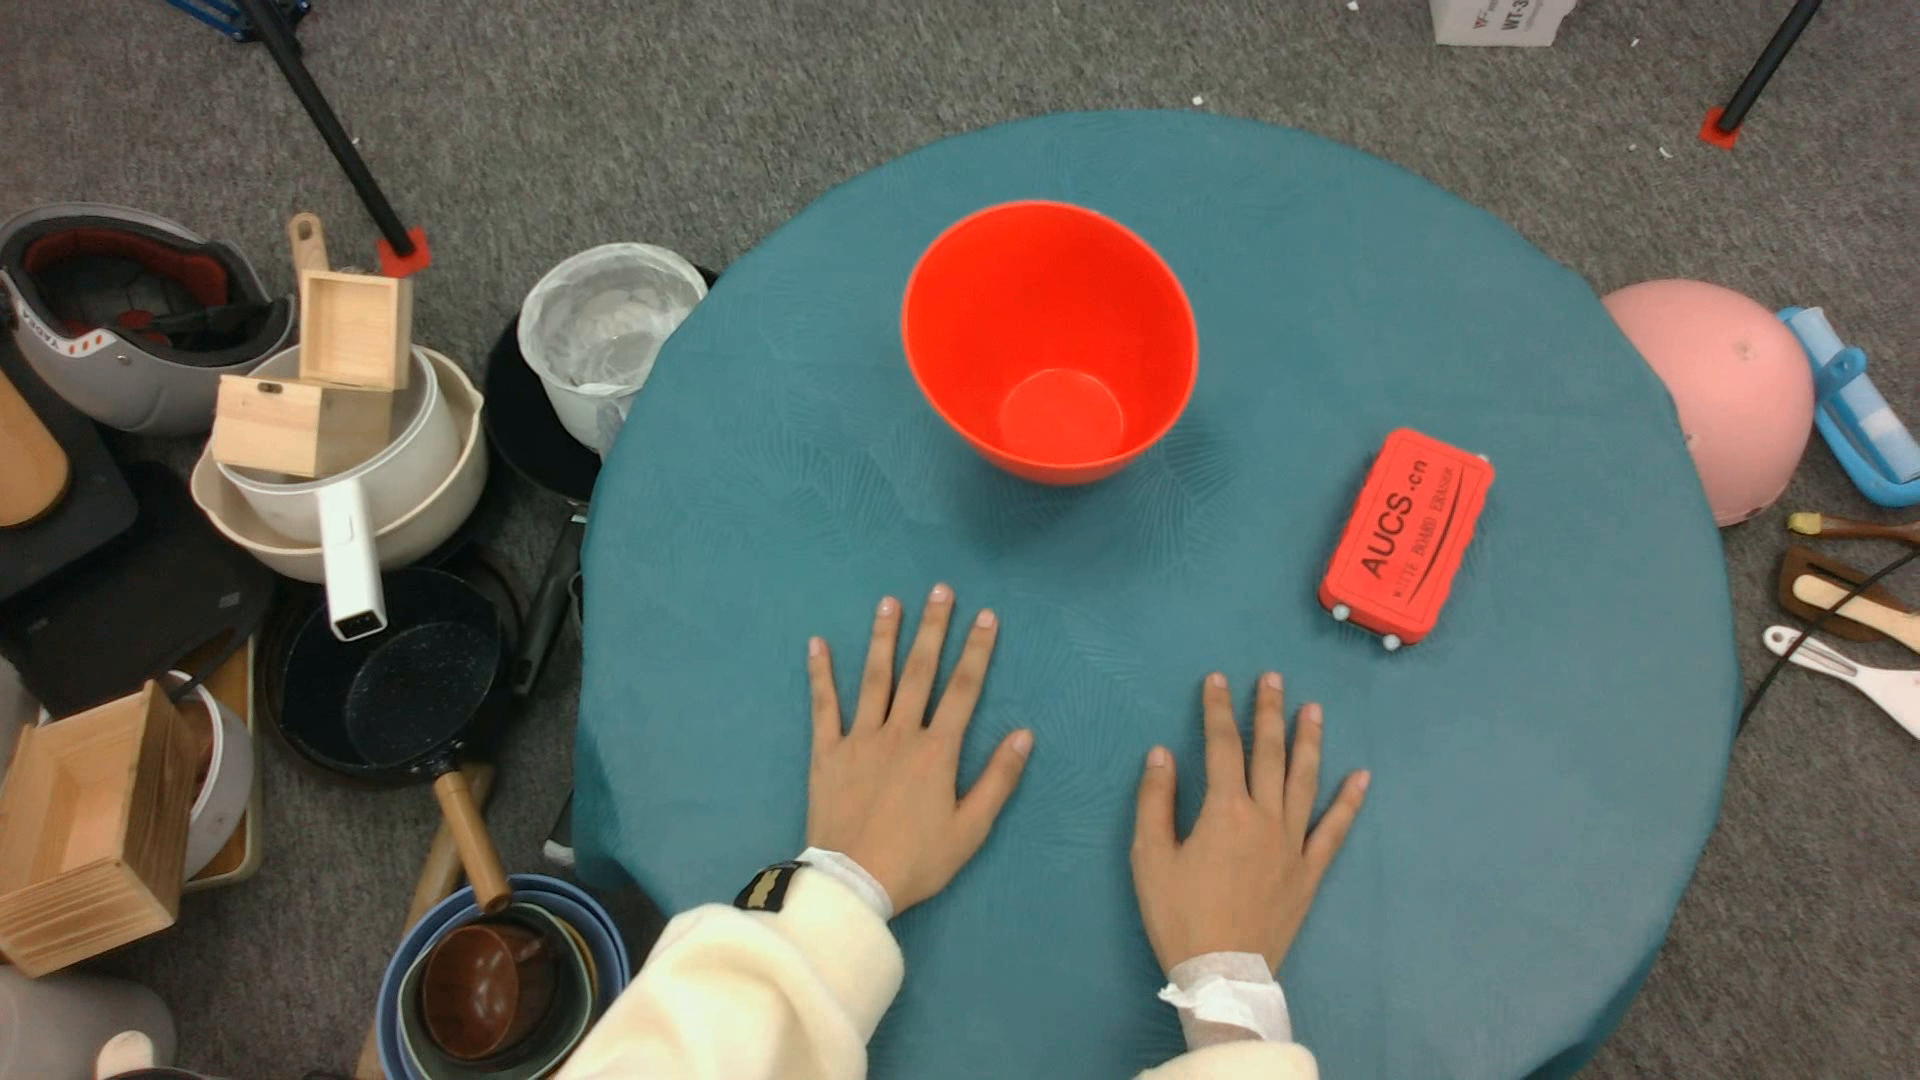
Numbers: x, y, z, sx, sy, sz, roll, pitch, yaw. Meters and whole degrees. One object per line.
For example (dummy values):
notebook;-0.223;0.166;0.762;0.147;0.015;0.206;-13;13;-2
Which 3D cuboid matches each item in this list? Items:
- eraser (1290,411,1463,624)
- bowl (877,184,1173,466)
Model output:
eraser;0.218;-0.013;0.720;0.059;0.023;0.108;26;68;9
bowl;0.033;-0.097;0.714;0.148;0.104;0.148;1;65;-1
